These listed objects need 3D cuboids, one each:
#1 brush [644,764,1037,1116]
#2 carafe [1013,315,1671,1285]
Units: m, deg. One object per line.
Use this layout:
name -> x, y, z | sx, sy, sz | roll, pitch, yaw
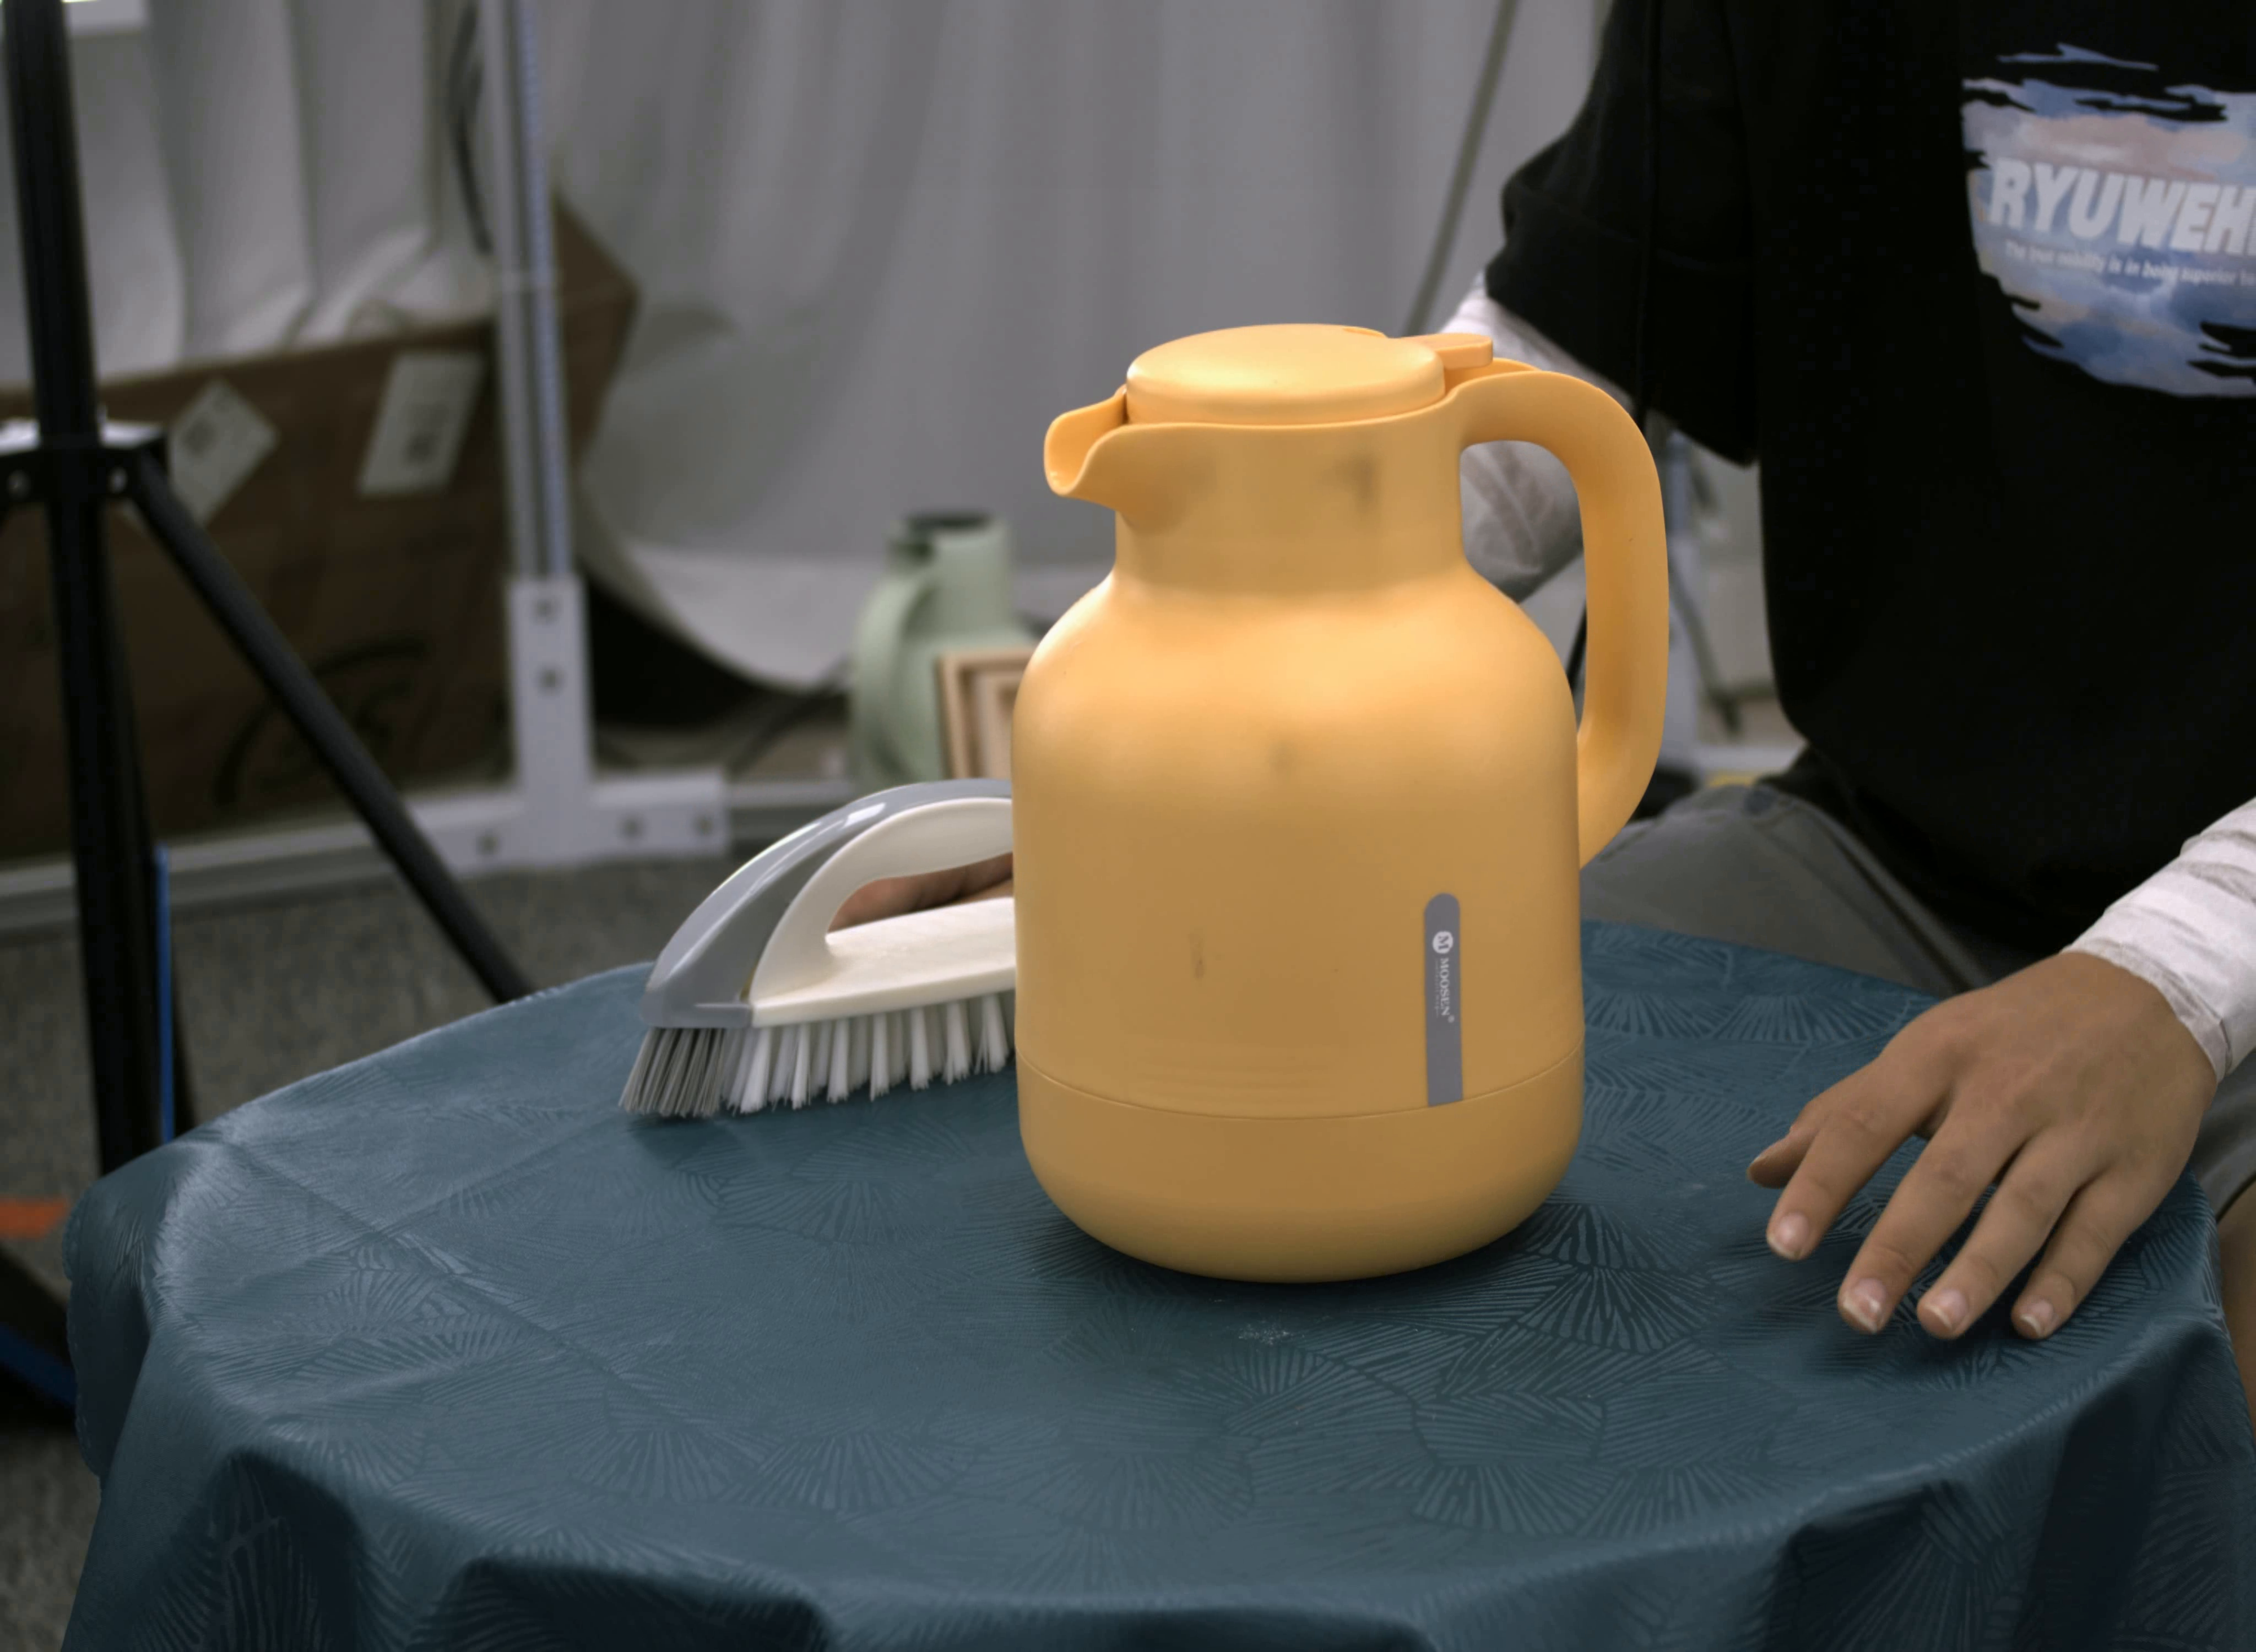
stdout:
brush -> -0.078, 0.034, 1.667 | 0.172, 0.094, 0.063 | -13, 17, -29
carafe -> 0.066, -0.014, 1.505 | 0.198, 0.260, 0.167 | -10, 19, -24
